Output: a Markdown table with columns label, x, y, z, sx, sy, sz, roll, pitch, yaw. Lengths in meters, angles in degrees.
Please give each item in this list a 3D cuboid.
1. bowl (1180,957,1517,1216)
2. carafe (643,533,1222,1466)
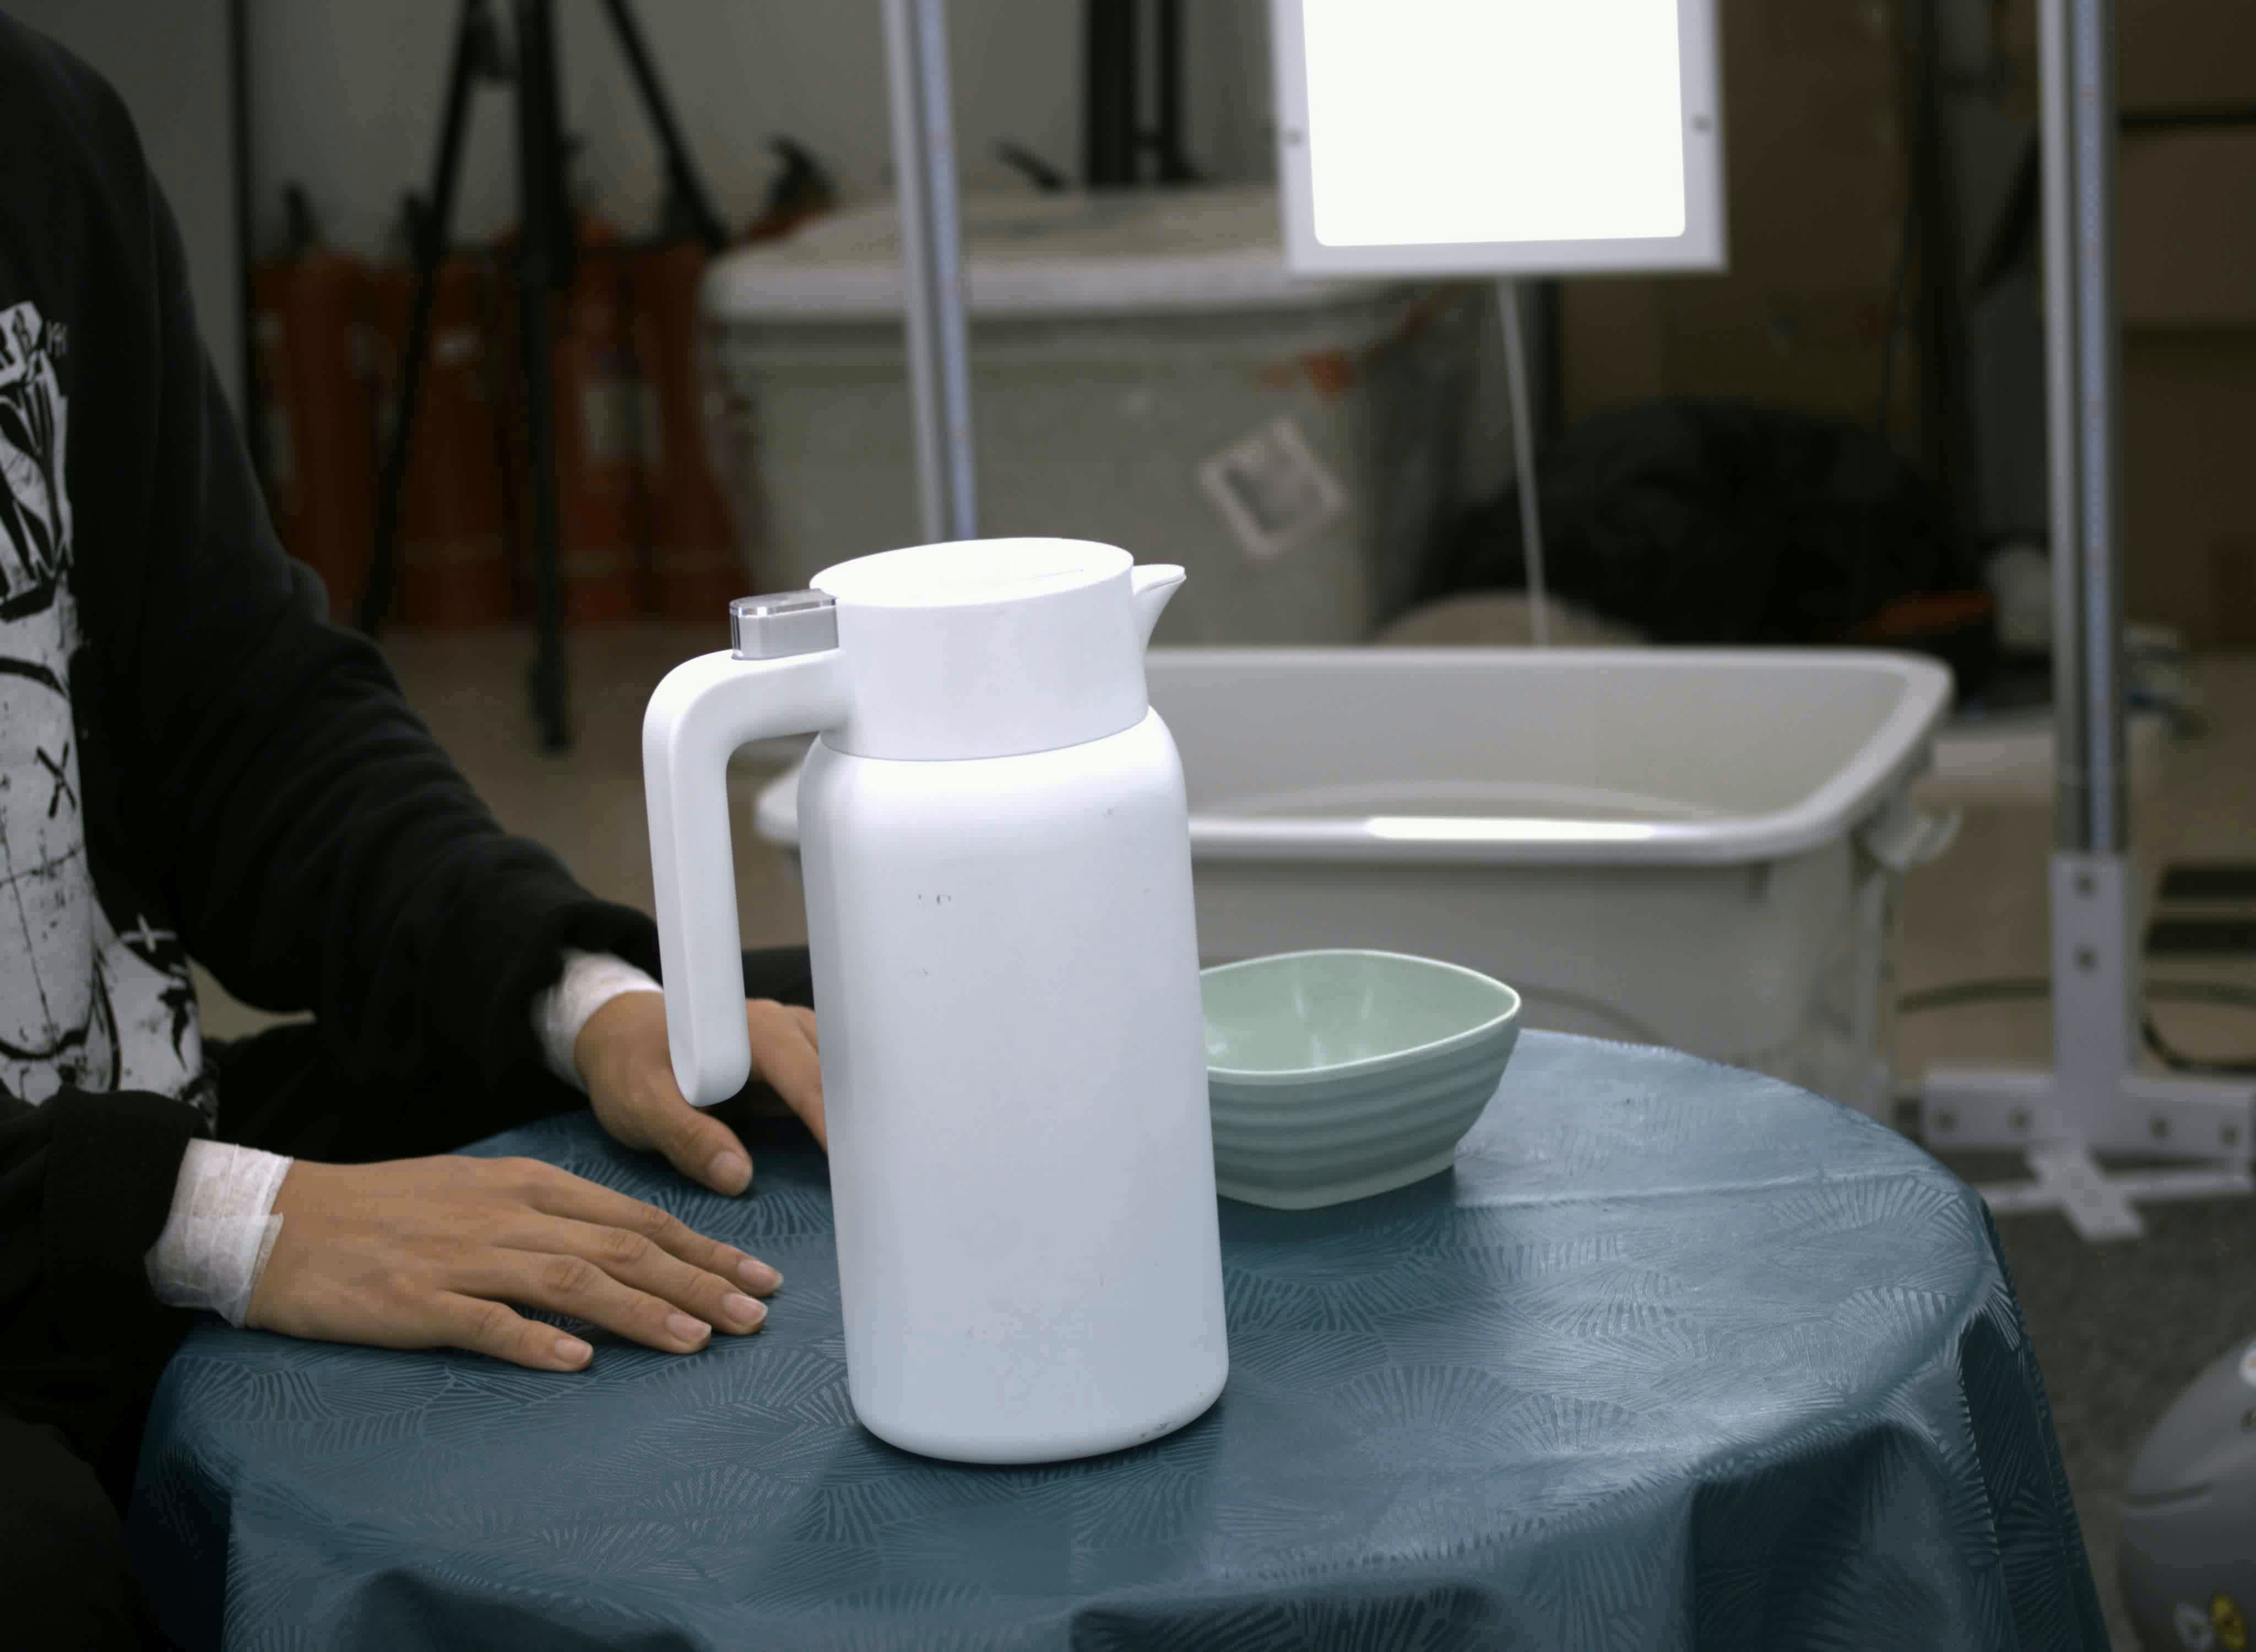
| label | x | y | z | sx | sy | sz | roll | pitch | yaw |
| --- | --- | --- | --- | --- | --- | --- | --- | --- | --- |
| bowl | 0.061 | 0.092 | 1.902 | 0.151 | 0.059 | 0.151 | -5 | 14 | 0 |
| carafe | -0.053 | 0.054 | 1.654 | 0.169 | 0.270 | 0.125 | -10 | 16 | -21 |
